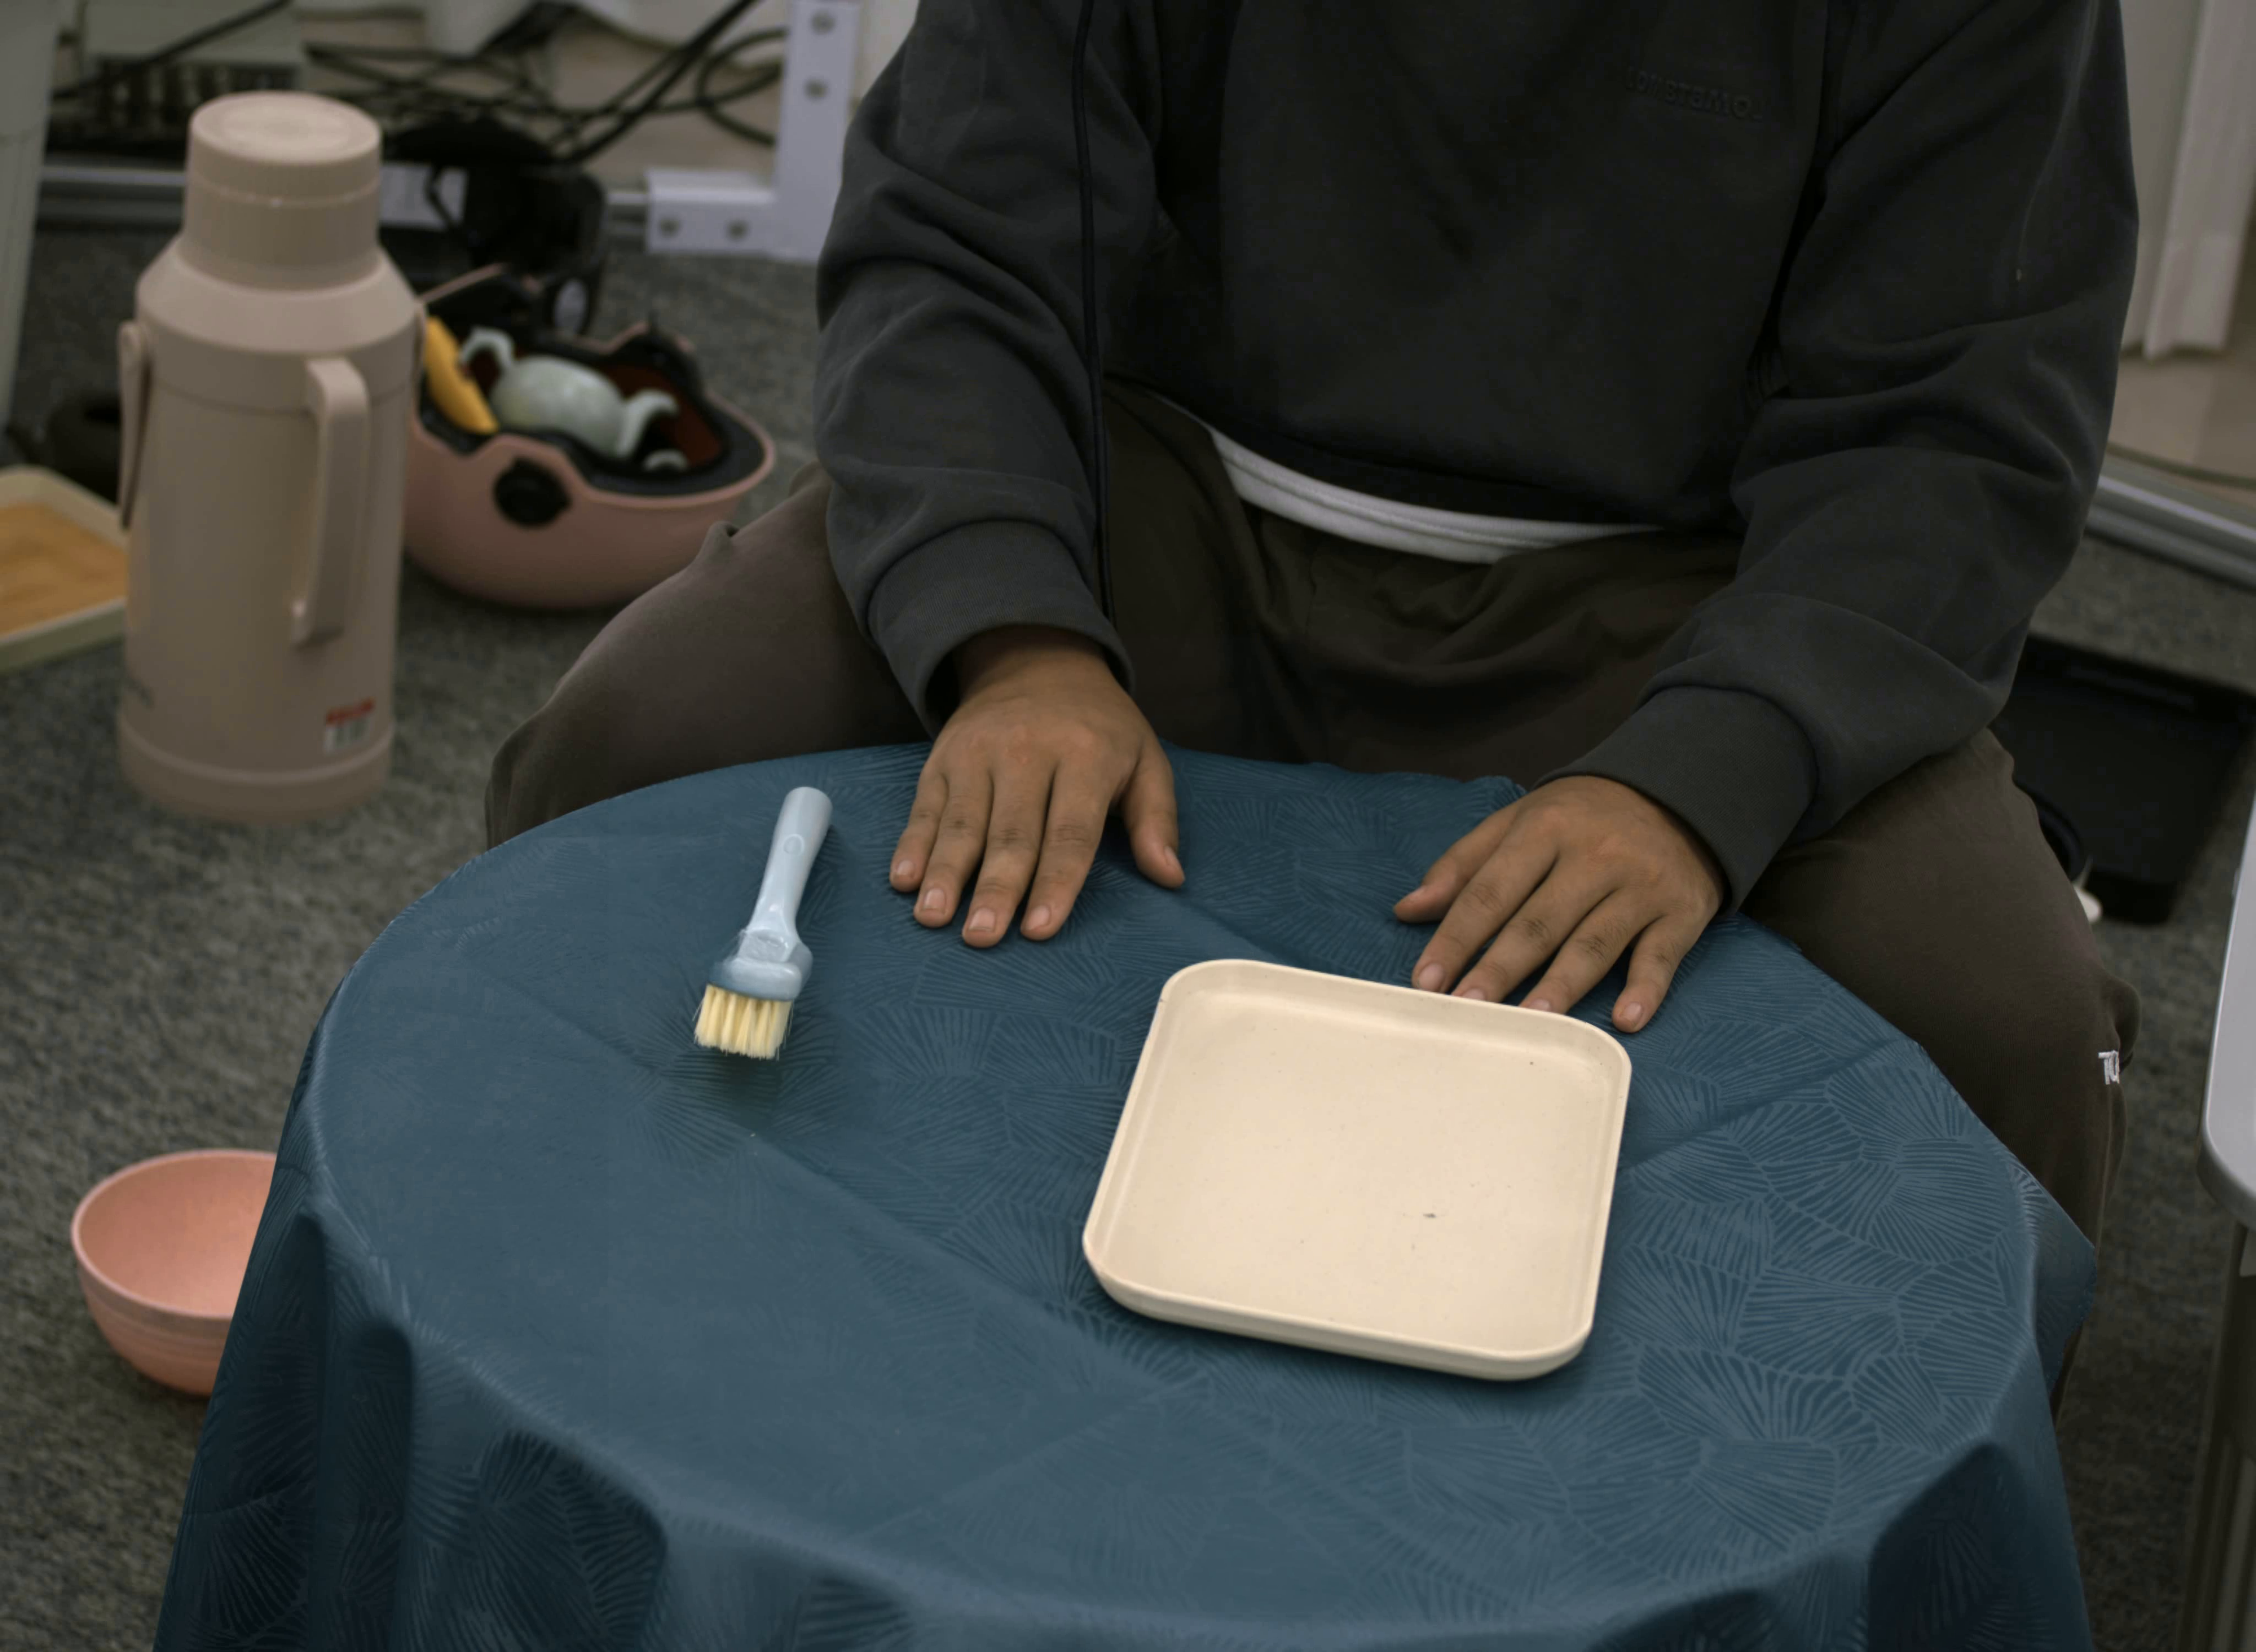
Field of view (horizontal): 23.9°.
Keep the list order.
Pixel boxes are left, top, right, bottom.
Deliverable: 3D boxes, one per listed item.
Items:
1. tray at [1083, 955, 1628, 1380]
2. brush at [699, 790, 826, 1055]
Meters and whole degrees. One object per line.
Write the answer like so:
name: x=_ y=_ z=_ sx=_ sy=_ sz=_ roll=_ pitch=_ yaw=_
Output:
tray: x=0.081 y=0.115 z=1.821 sx=0.171 sy=0.017 sz=0.240 roll=10 pitch=27 yaw=5
brush: x=-0.129 y=0.035 z=1.917 sx=0.037 sy=0.049 sz=0.229 roll=13 pitch=18 yaw=-3
